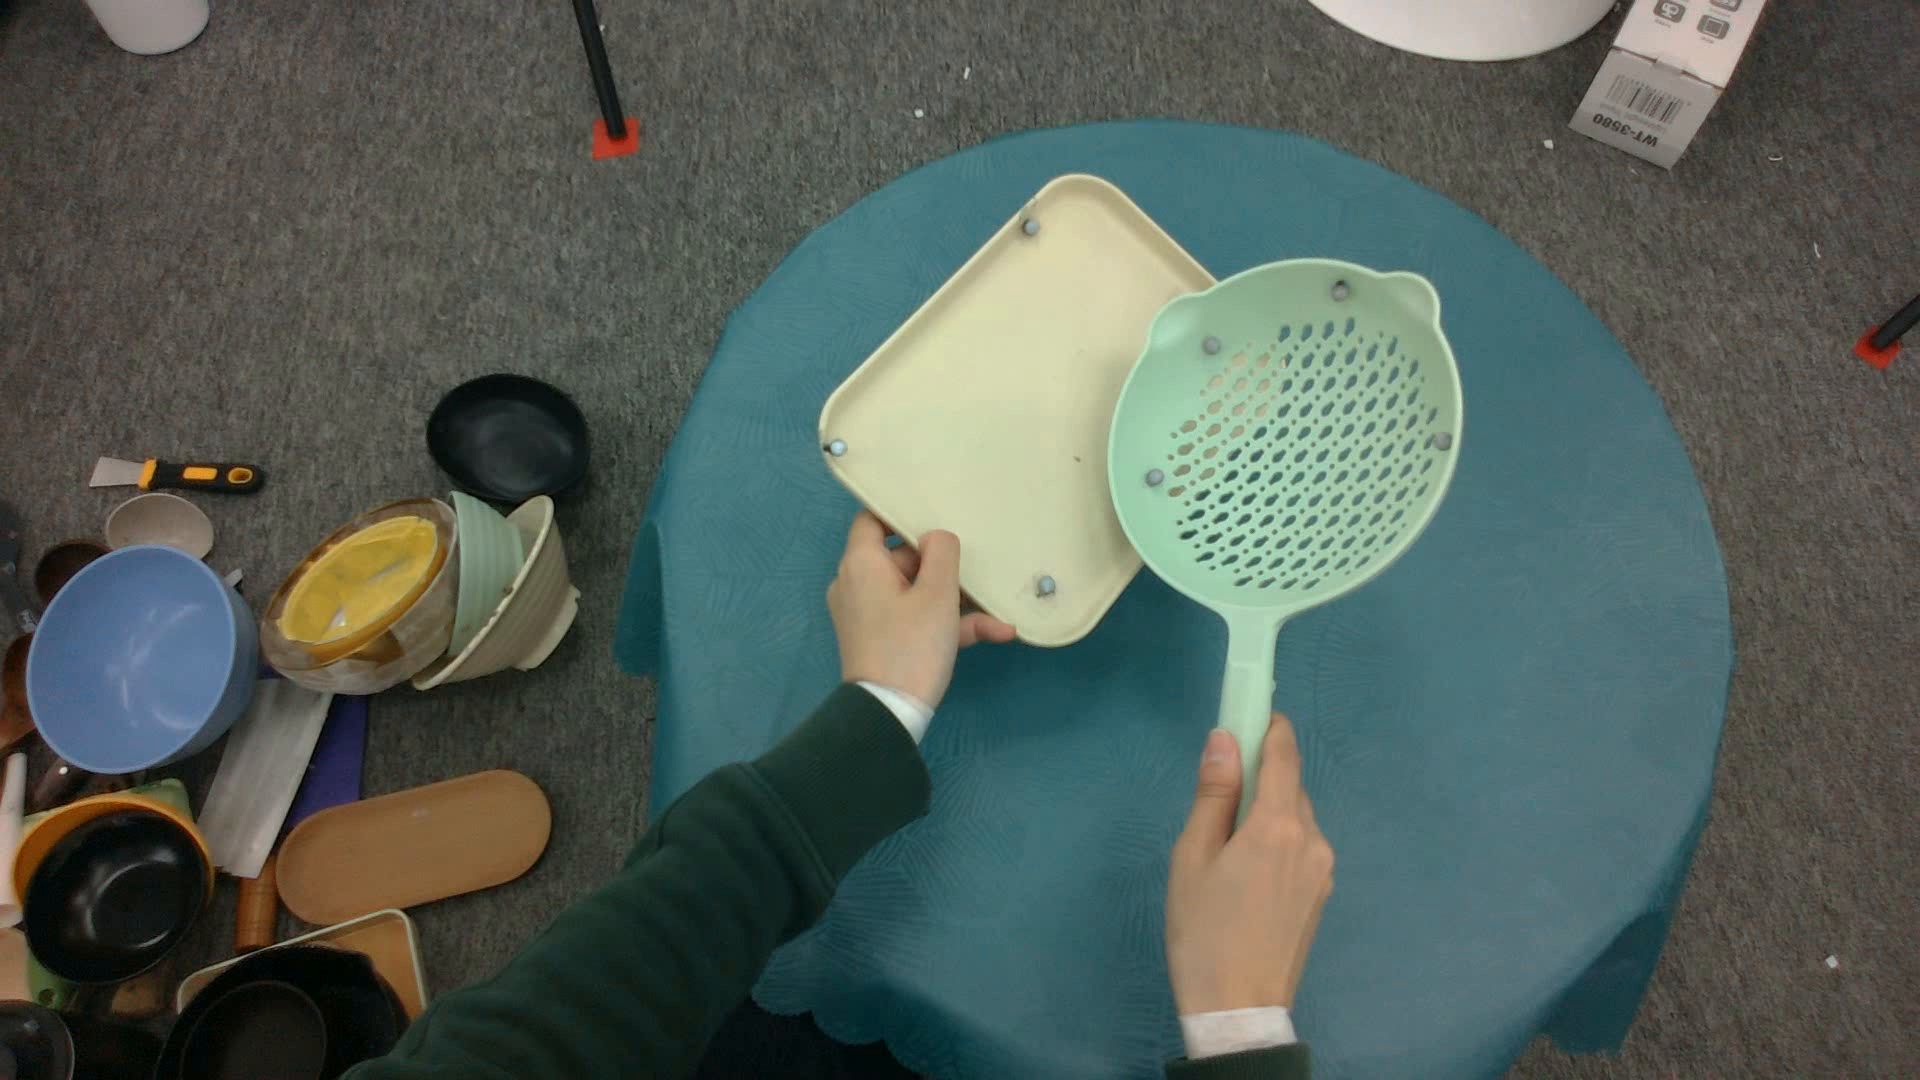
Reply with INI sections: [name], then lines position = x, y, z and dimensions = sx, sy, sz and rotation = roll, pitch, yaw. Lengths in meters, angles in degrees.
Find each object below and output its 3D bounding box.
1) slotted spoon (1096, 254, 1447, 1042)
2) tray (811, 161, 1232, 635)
[slotted spoon]
position = 0.132, 0.042, 0.635
dimensions = 0.169, 0.075, 0.360
rotation = 1, 68, 33
[tray]
position = 0.048, -0.078, 0.710
dimensions = 0.171, 0.017, 0.240
rotation = 41, 65, -2
